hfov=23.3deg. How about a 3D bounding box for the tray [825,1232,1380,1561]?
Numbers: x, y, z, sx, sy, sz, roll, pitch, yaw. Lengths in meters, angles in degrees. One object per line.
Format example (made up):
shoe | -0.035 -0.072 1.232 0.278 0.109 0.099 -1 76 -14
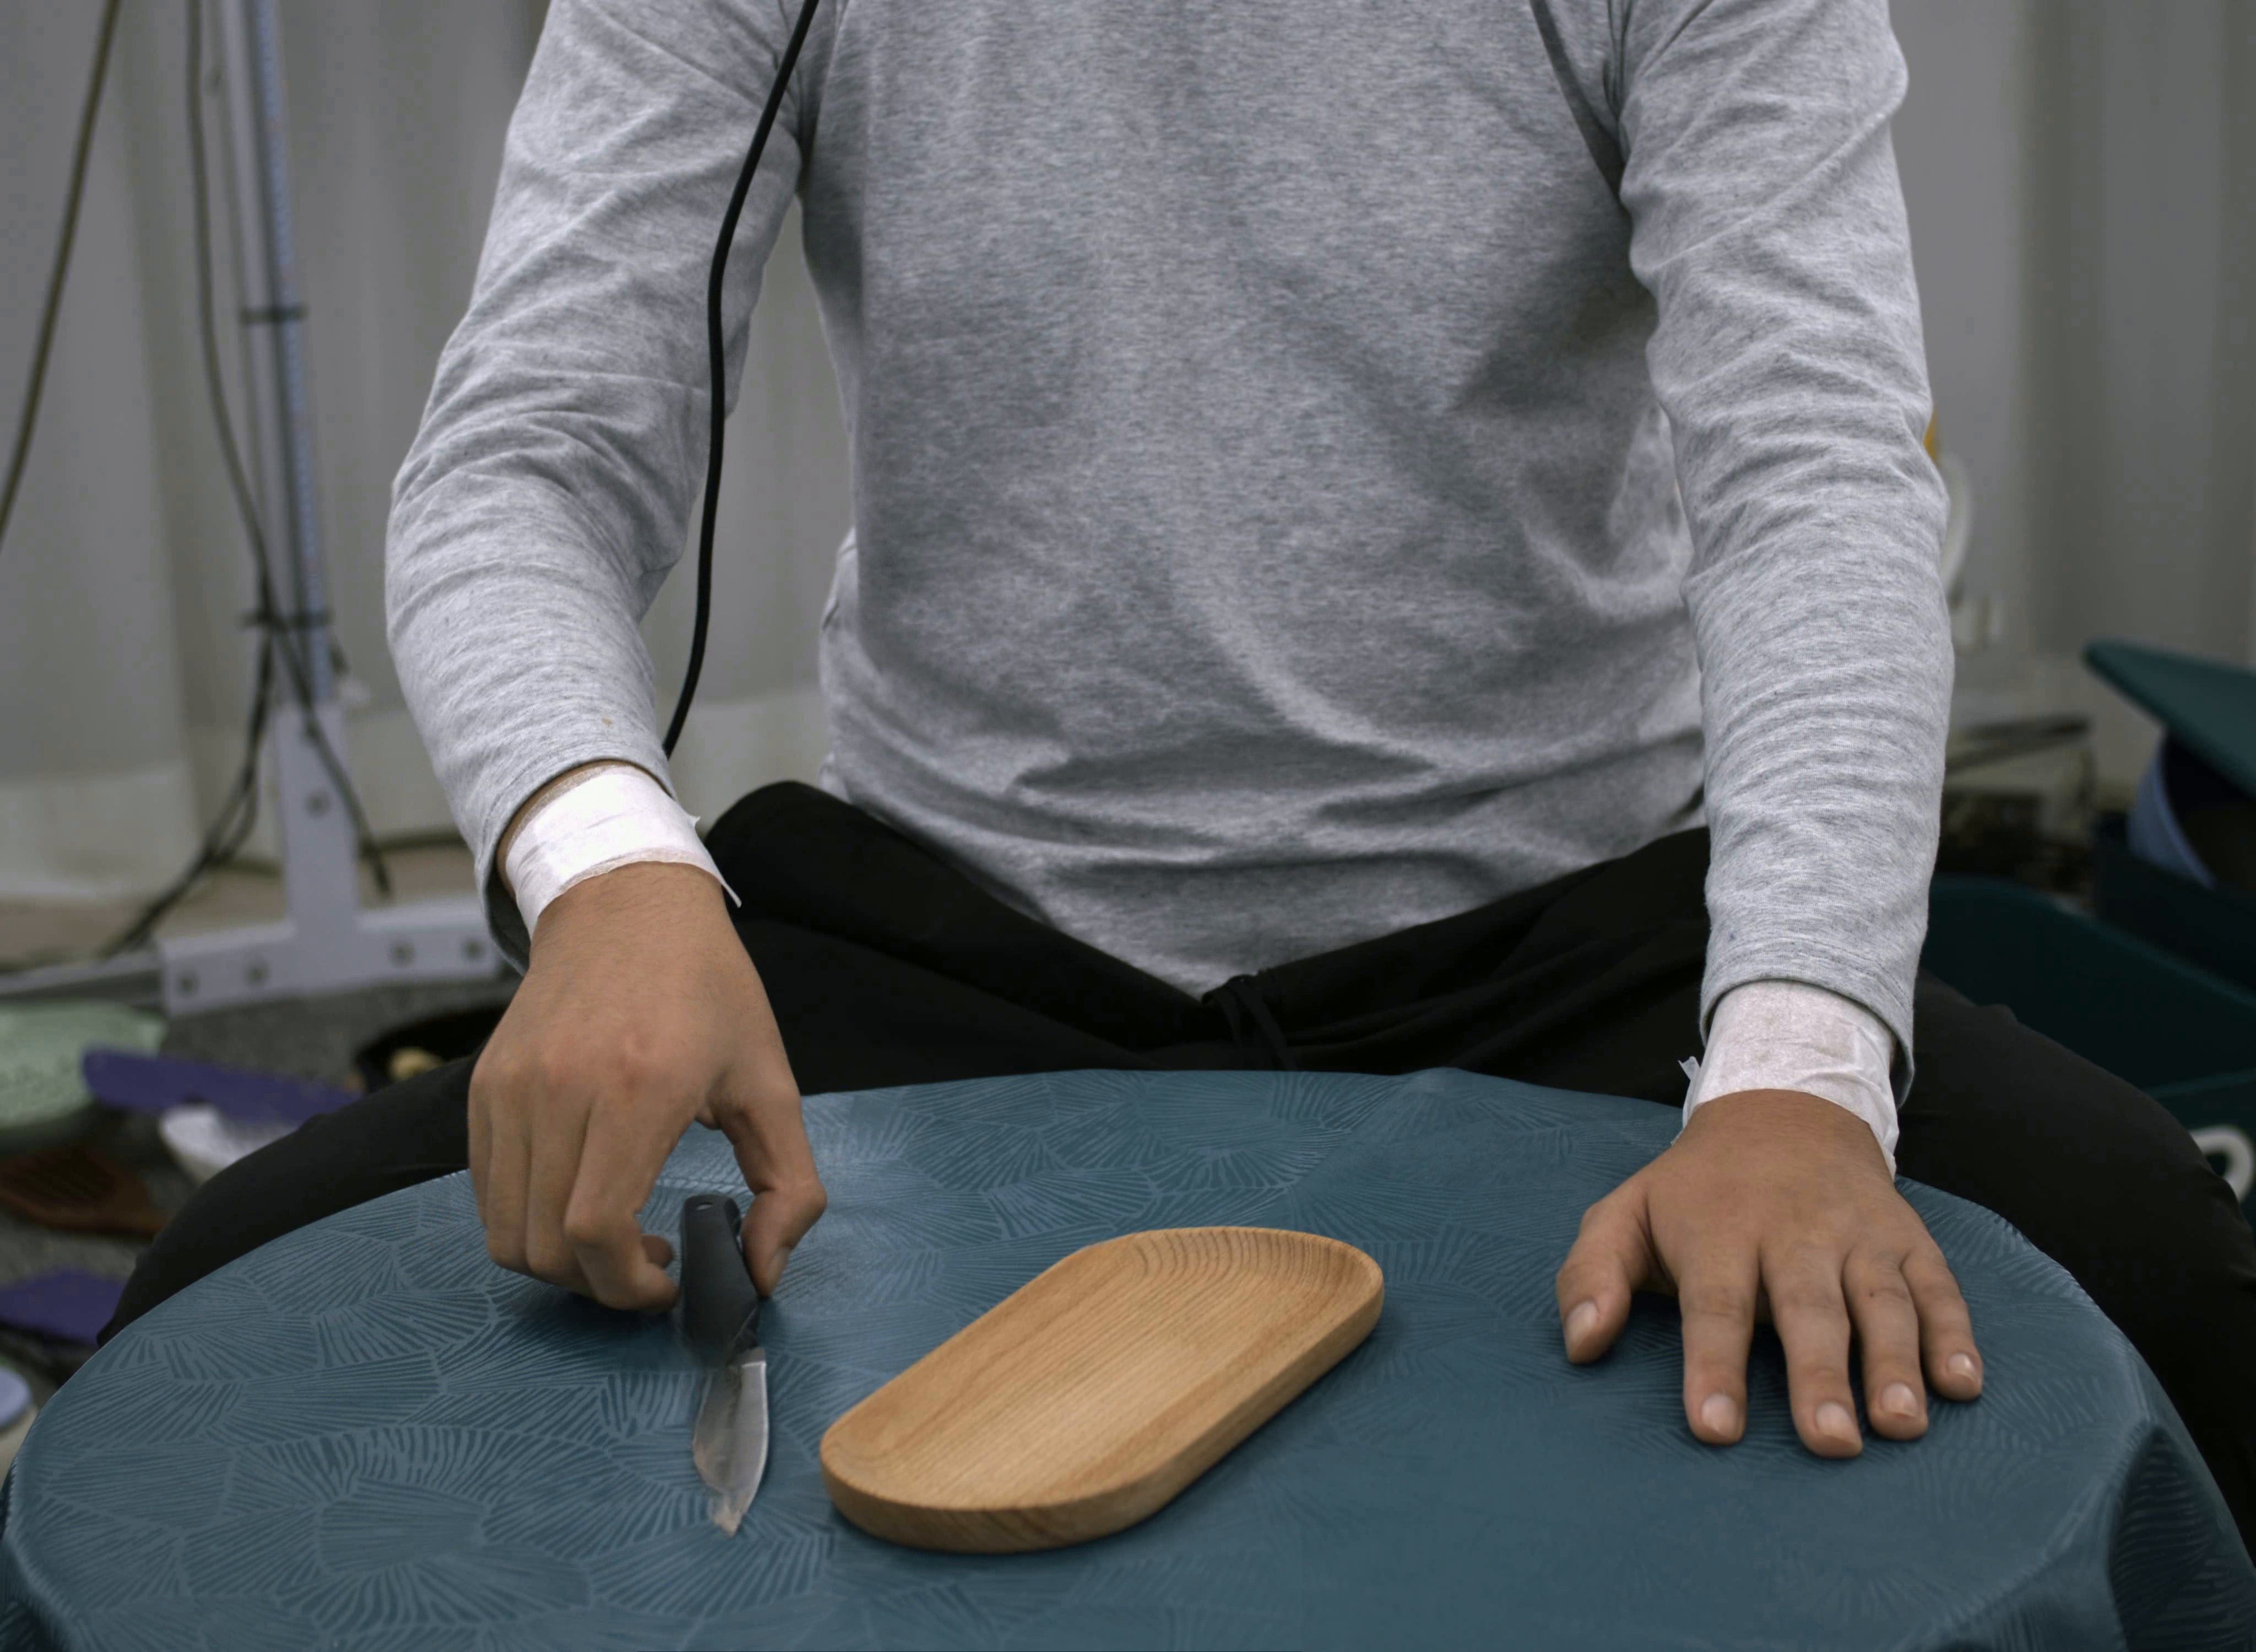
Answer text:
tray | -0.004 0.157 1.528 0.102 0.020 0.232 3 17 24

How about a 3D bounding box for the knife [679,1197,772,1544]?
knife | -0.116 0.155 1.565 0.024 0.016 0.240 -3 18 -5
